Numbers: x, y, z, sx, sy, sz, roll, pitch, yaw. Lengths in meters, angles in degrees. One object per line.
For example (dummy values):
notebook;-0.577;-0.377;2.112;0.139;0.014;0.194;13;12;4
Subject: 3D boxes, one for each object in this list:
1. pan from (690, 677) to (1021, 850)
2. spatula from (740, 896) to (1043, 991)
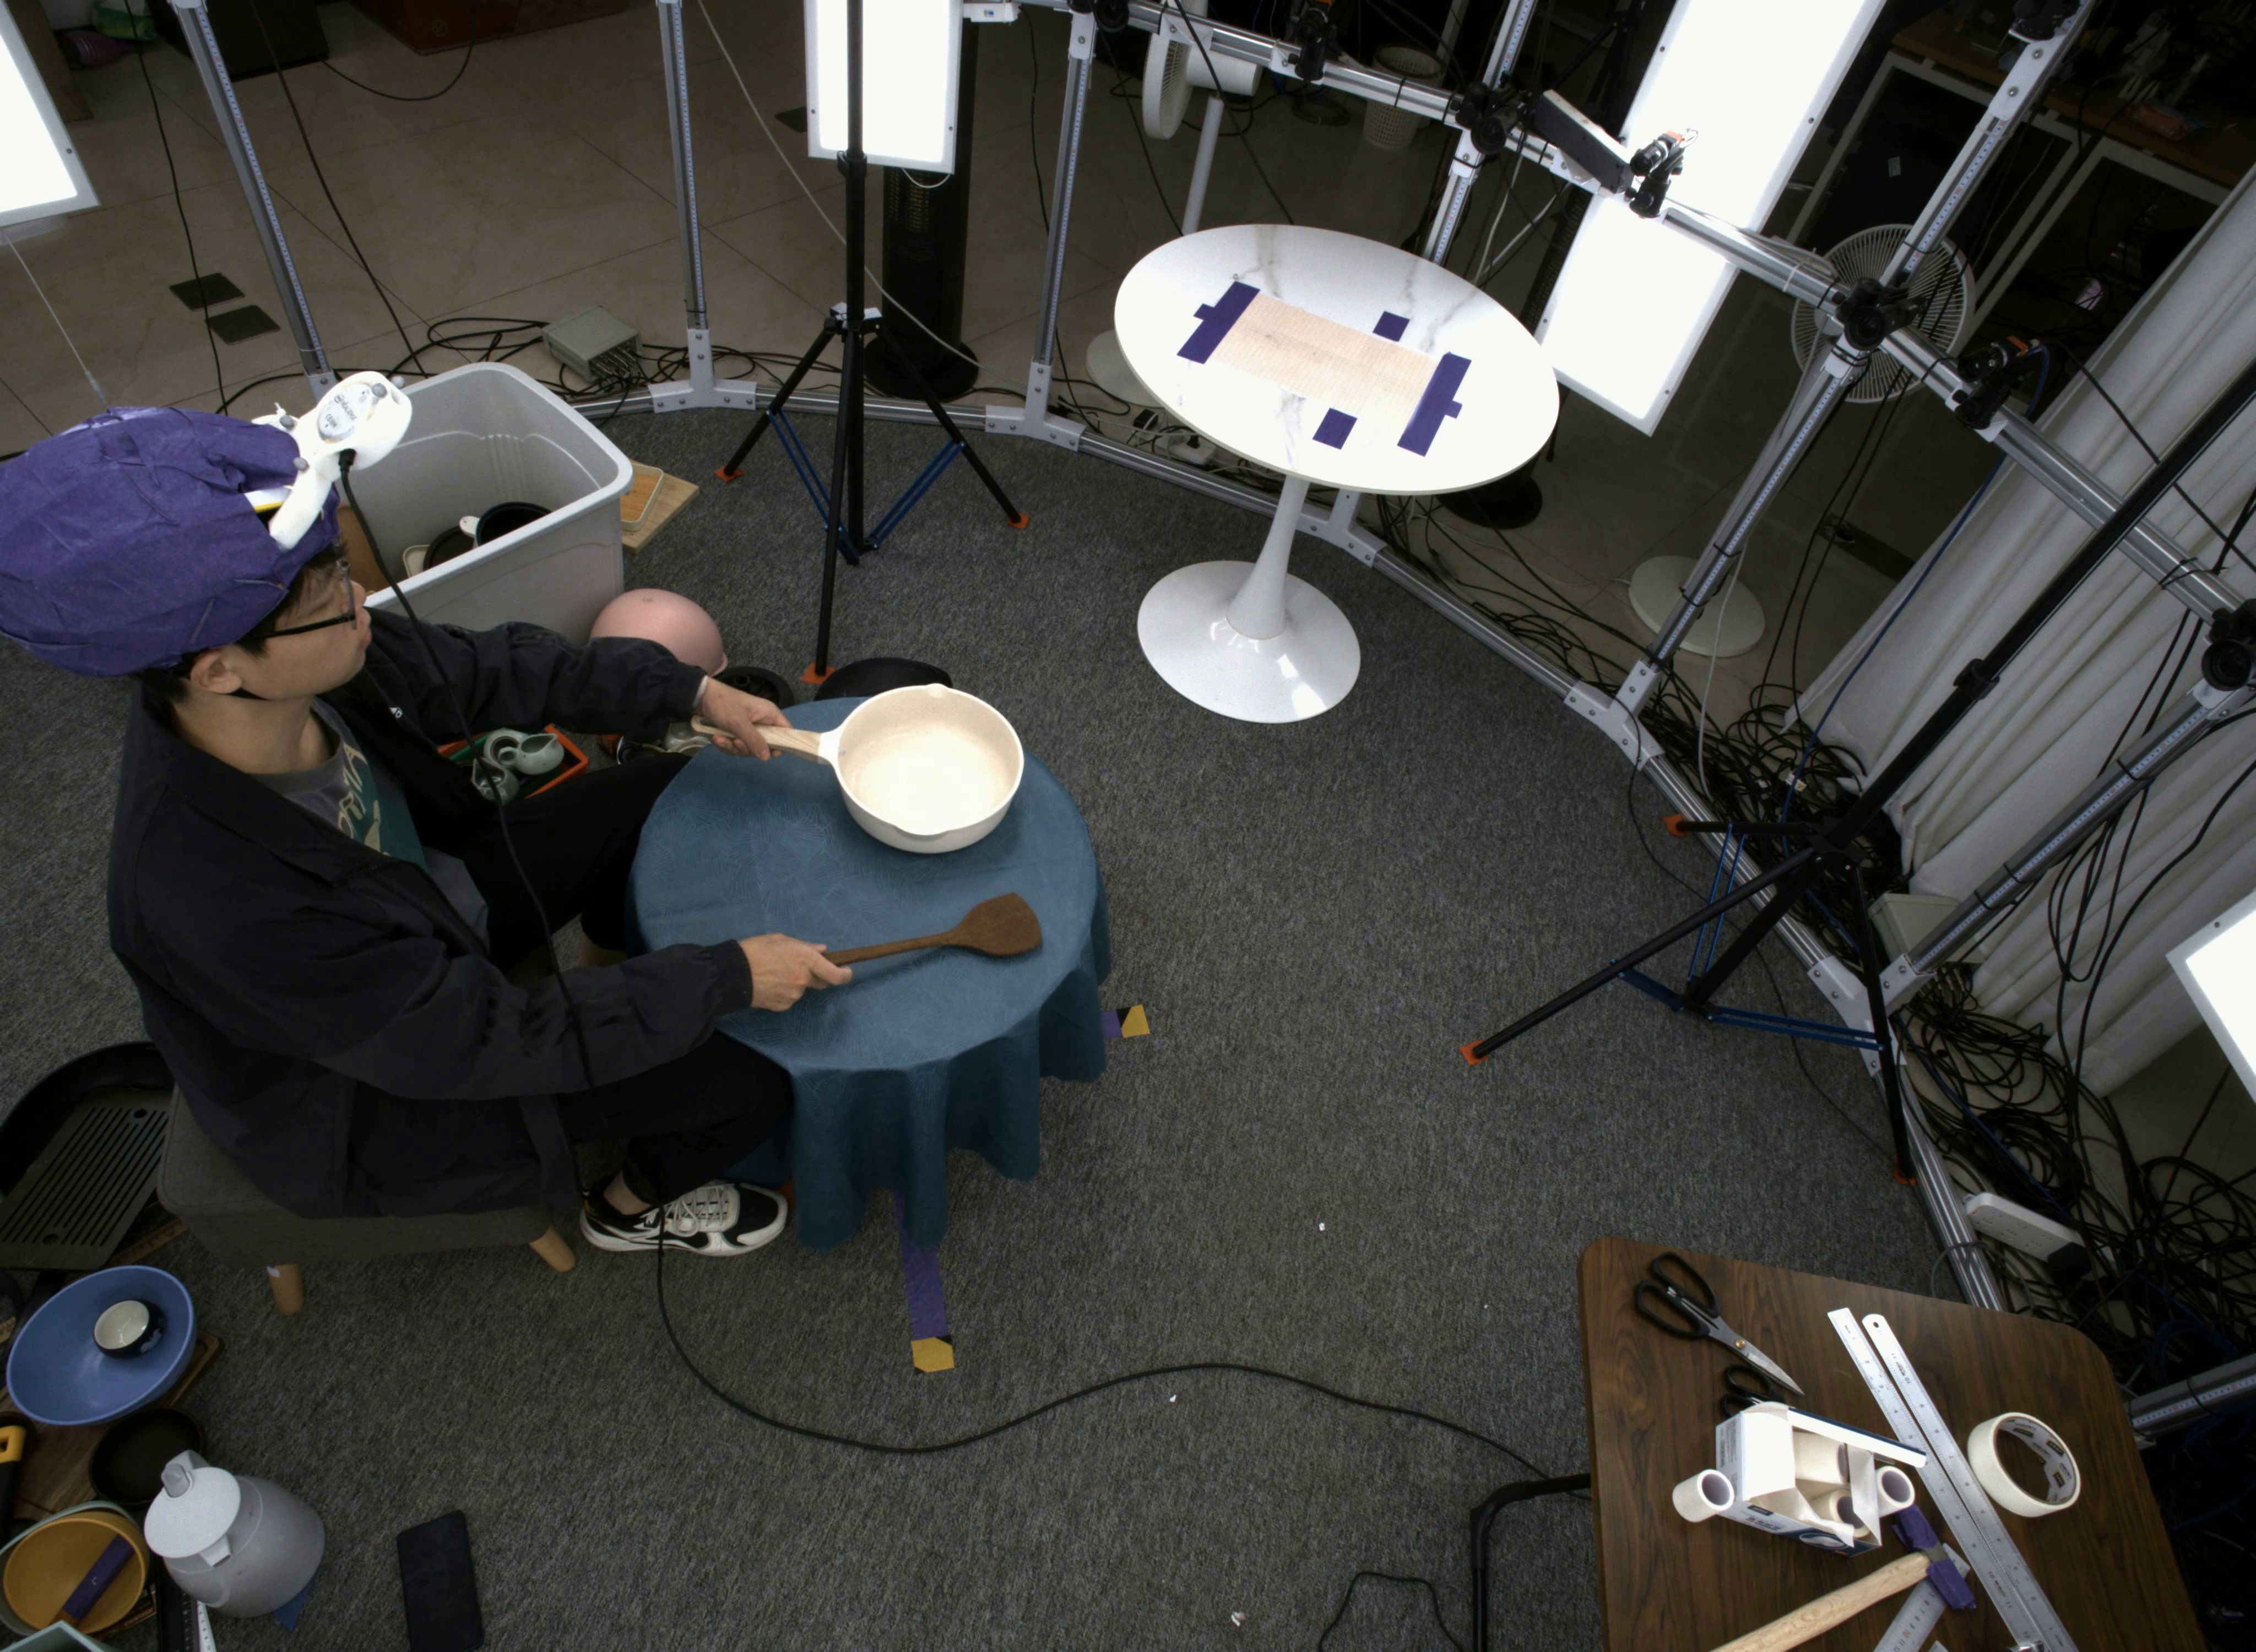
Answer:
pan;-0.361;-0.090;1.741;0.434;0.104;0.259;6;55;-10
spatula;-0.288;0.153;1.613;0.390;0.016;0.093;-10;54;-29
